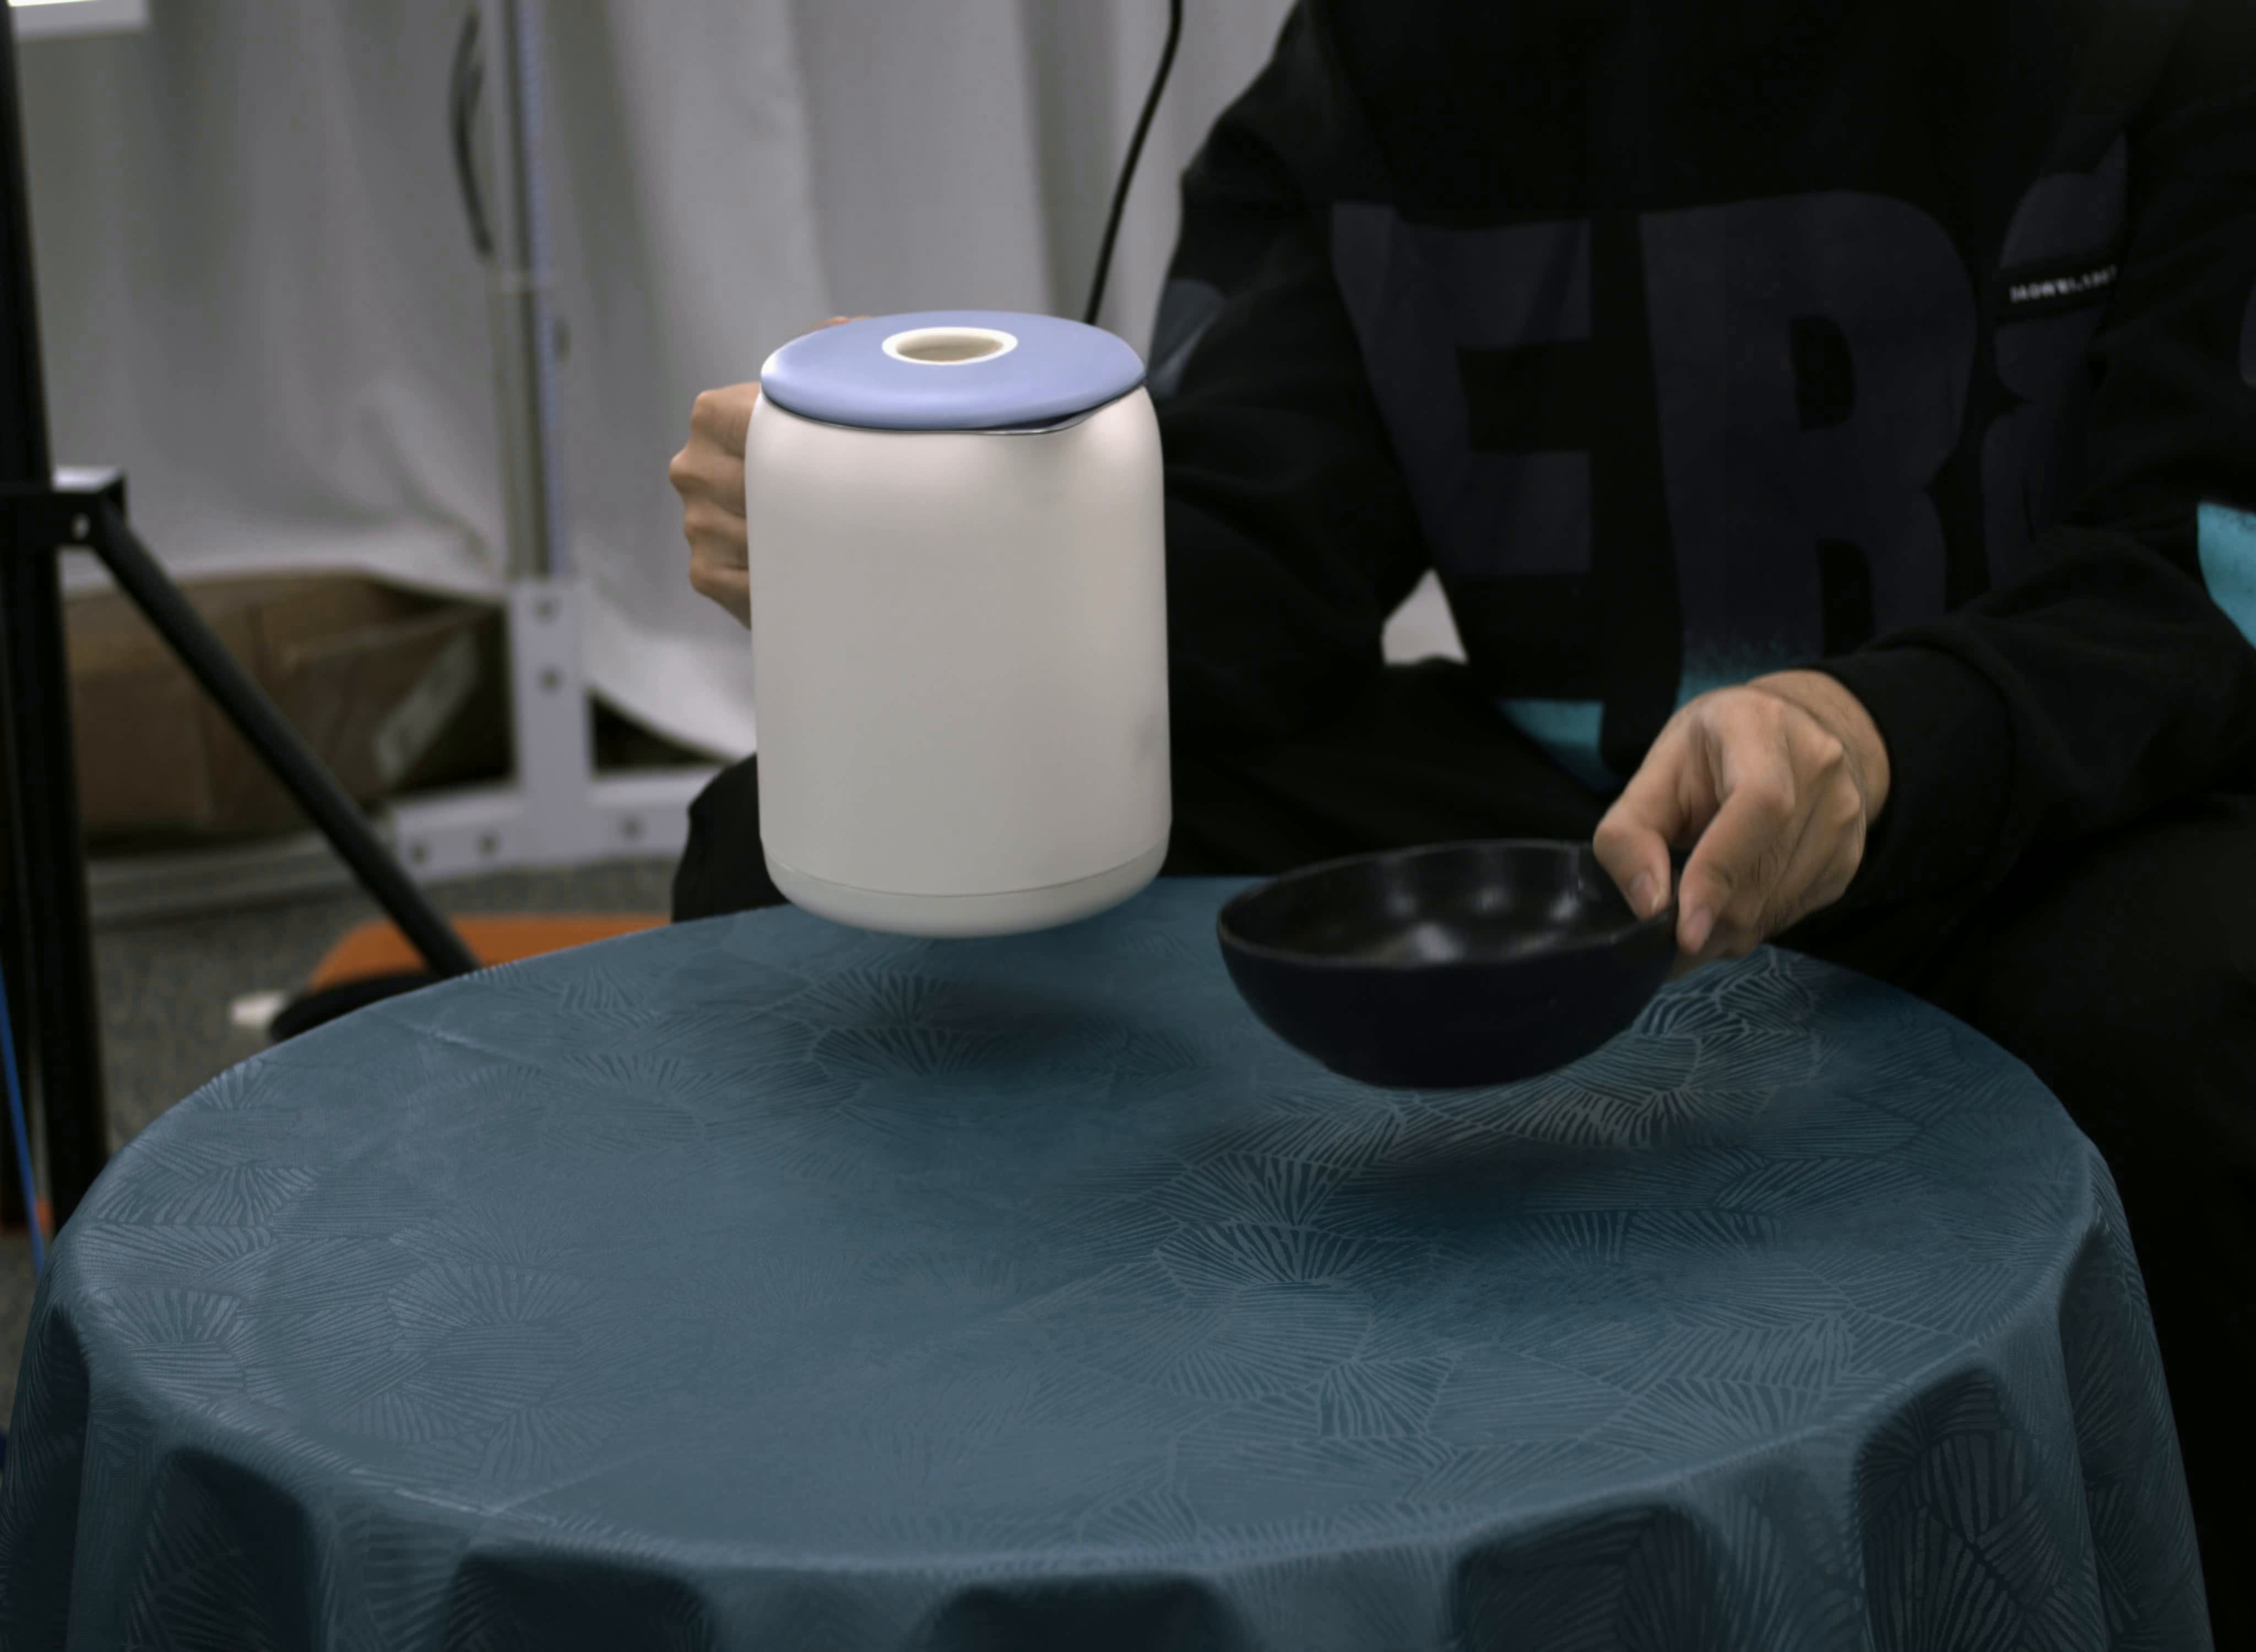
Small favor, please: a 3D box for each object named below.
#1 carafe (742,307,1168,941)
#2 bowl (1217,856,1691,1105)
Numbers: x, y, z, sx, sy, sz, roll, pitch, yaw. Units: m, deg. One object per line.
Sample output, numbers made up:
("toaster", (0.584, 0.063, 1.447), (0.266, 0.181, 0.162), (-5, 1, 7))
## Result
("carafe", (-0.066, -0.071, 1.697), (0.129, 0.182, 0.195), (-10, 18, -27))
("bowl", (0.097, 0.049, 1.547), (0.139, 0.050, 0.140), (-6, 11, 0))
